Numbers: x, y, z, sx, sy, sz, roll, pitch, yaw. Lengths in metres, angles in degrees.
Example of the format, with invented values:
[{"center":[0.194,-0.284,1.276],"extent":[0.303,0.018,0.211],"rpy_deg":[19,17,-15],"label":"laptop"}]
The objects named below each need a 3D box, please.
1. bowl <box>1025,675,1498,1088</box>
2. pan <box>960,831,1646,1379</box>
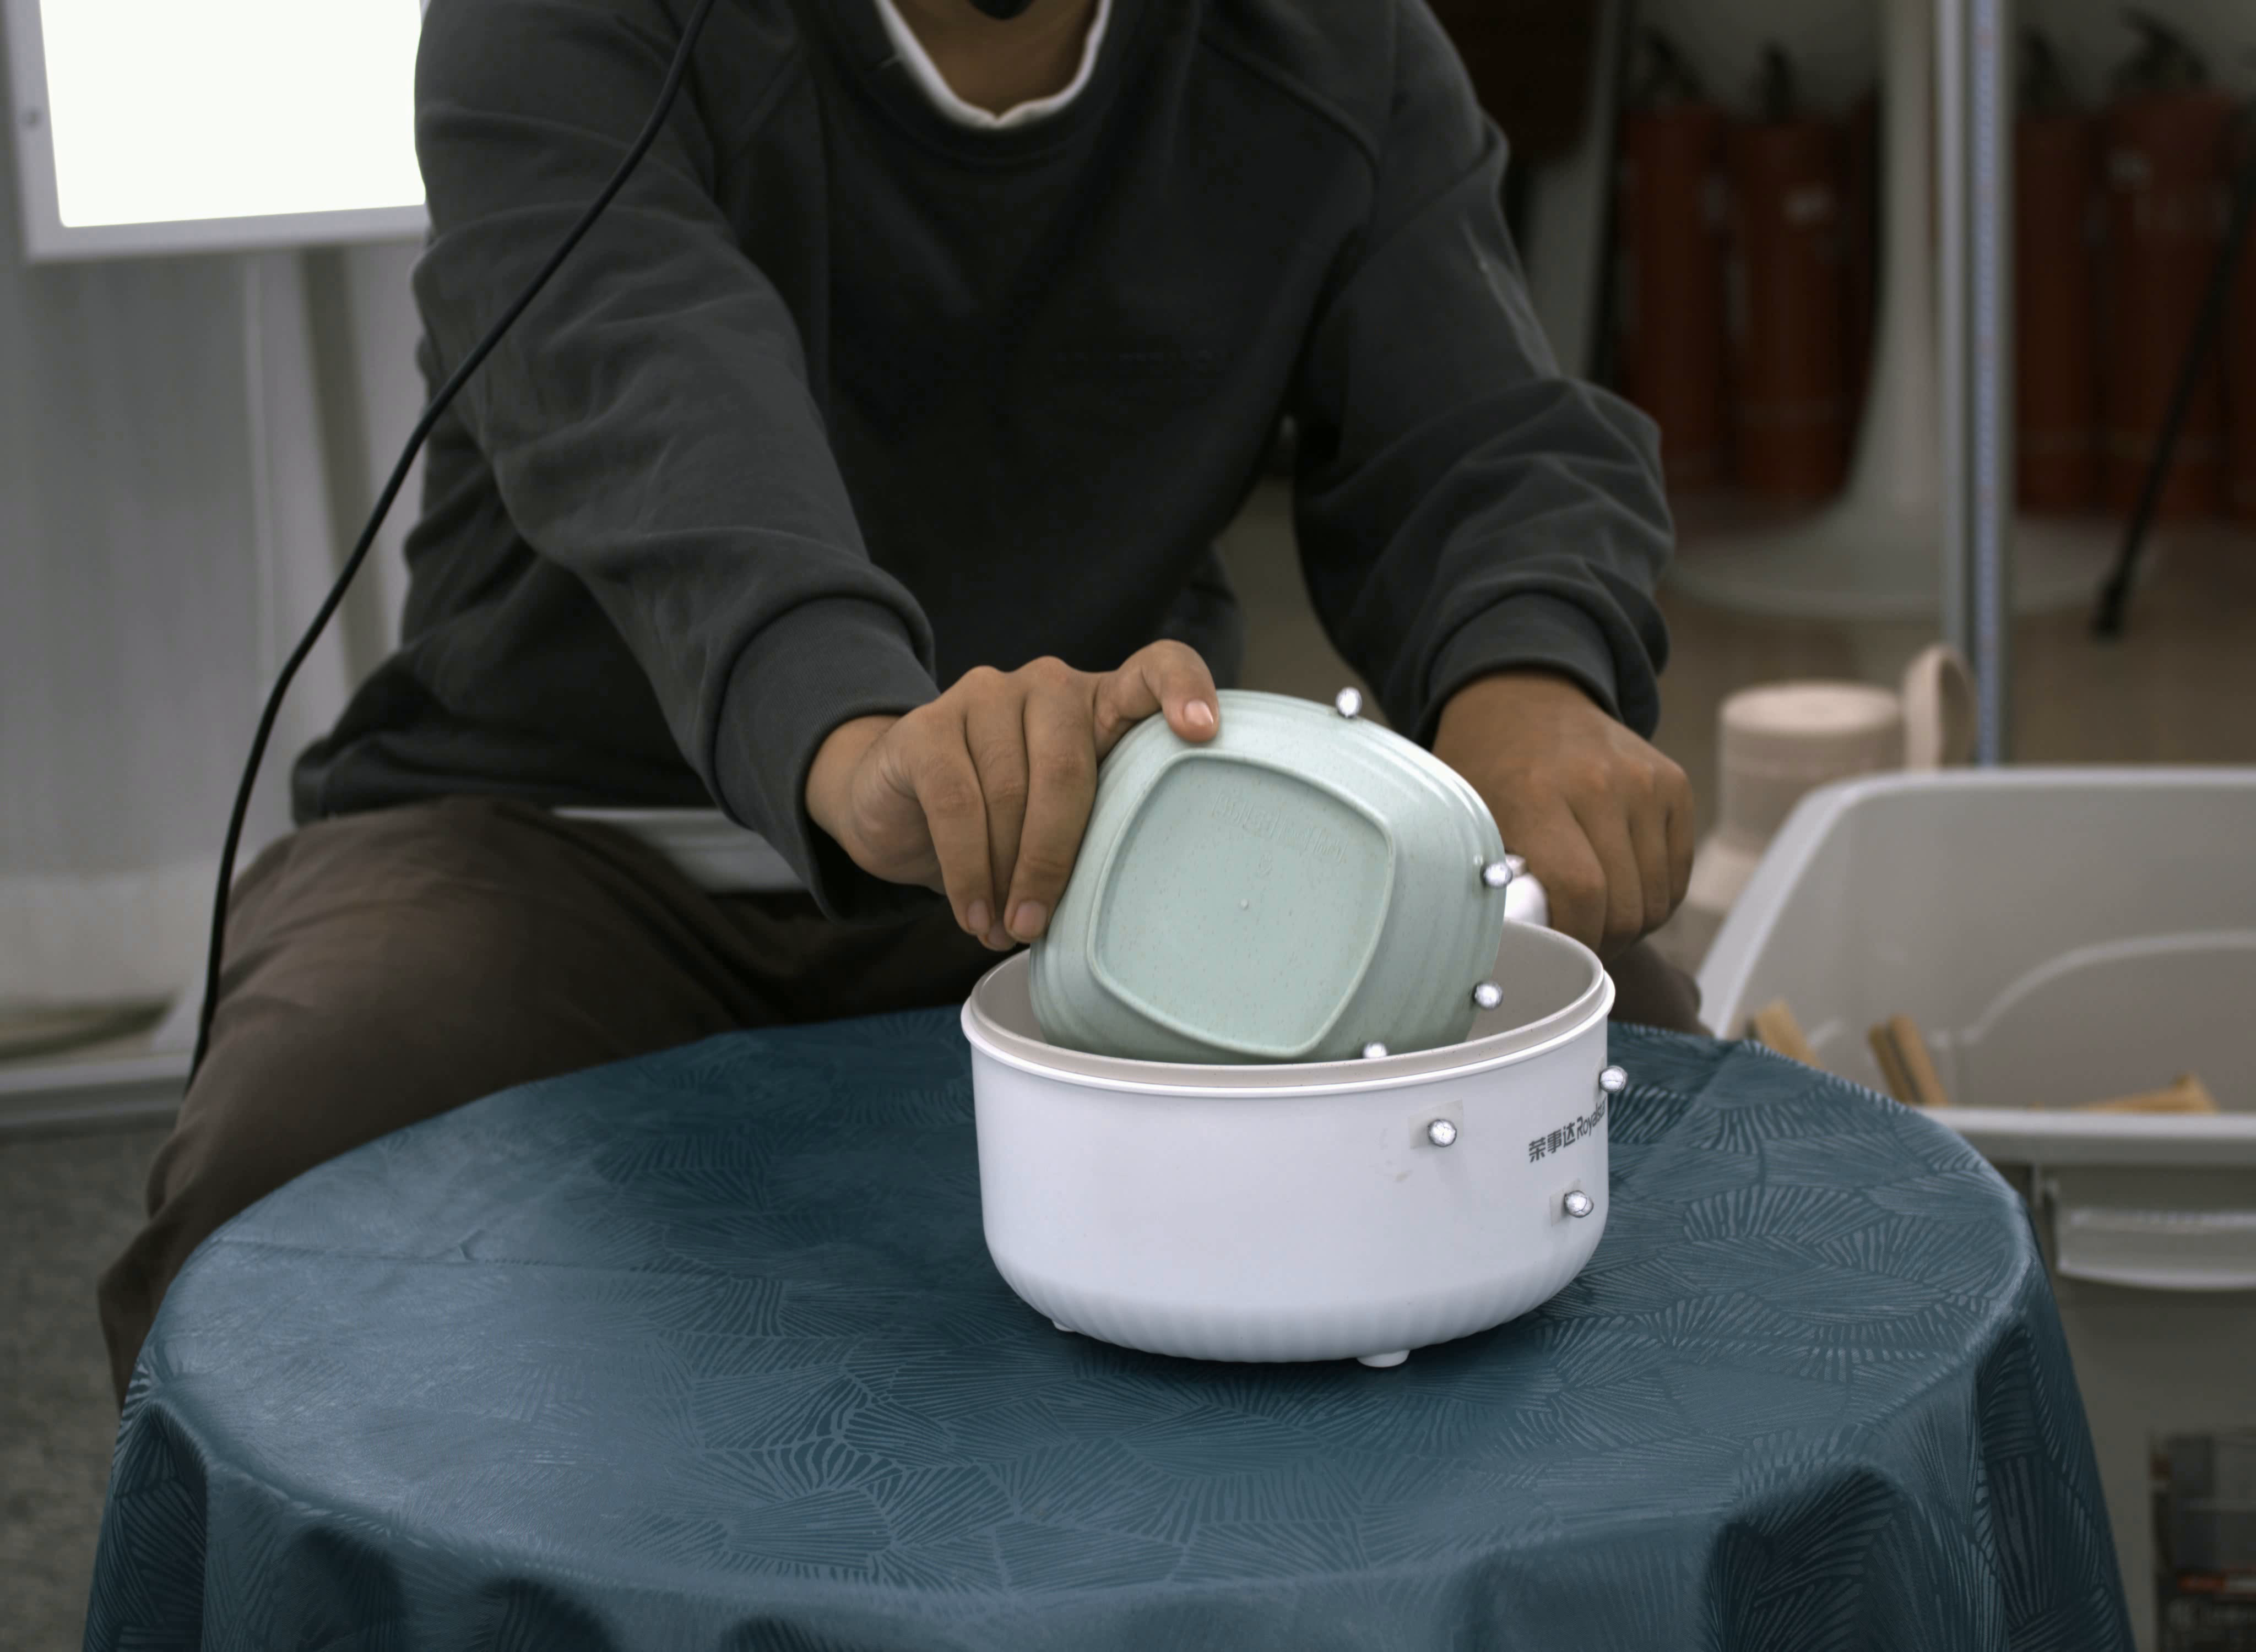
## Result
[{"center":[0.035,0.022,1.584],"extent":[0.150,0.153,0.058],"rpy_deg":[-1,-10,13],"label":"bowl"},{"center":[0.085,0.085,1.716],"extent":[0.202,0.103,0.350],"rpy_deg":[0,12,27],"label":"pan"}]
